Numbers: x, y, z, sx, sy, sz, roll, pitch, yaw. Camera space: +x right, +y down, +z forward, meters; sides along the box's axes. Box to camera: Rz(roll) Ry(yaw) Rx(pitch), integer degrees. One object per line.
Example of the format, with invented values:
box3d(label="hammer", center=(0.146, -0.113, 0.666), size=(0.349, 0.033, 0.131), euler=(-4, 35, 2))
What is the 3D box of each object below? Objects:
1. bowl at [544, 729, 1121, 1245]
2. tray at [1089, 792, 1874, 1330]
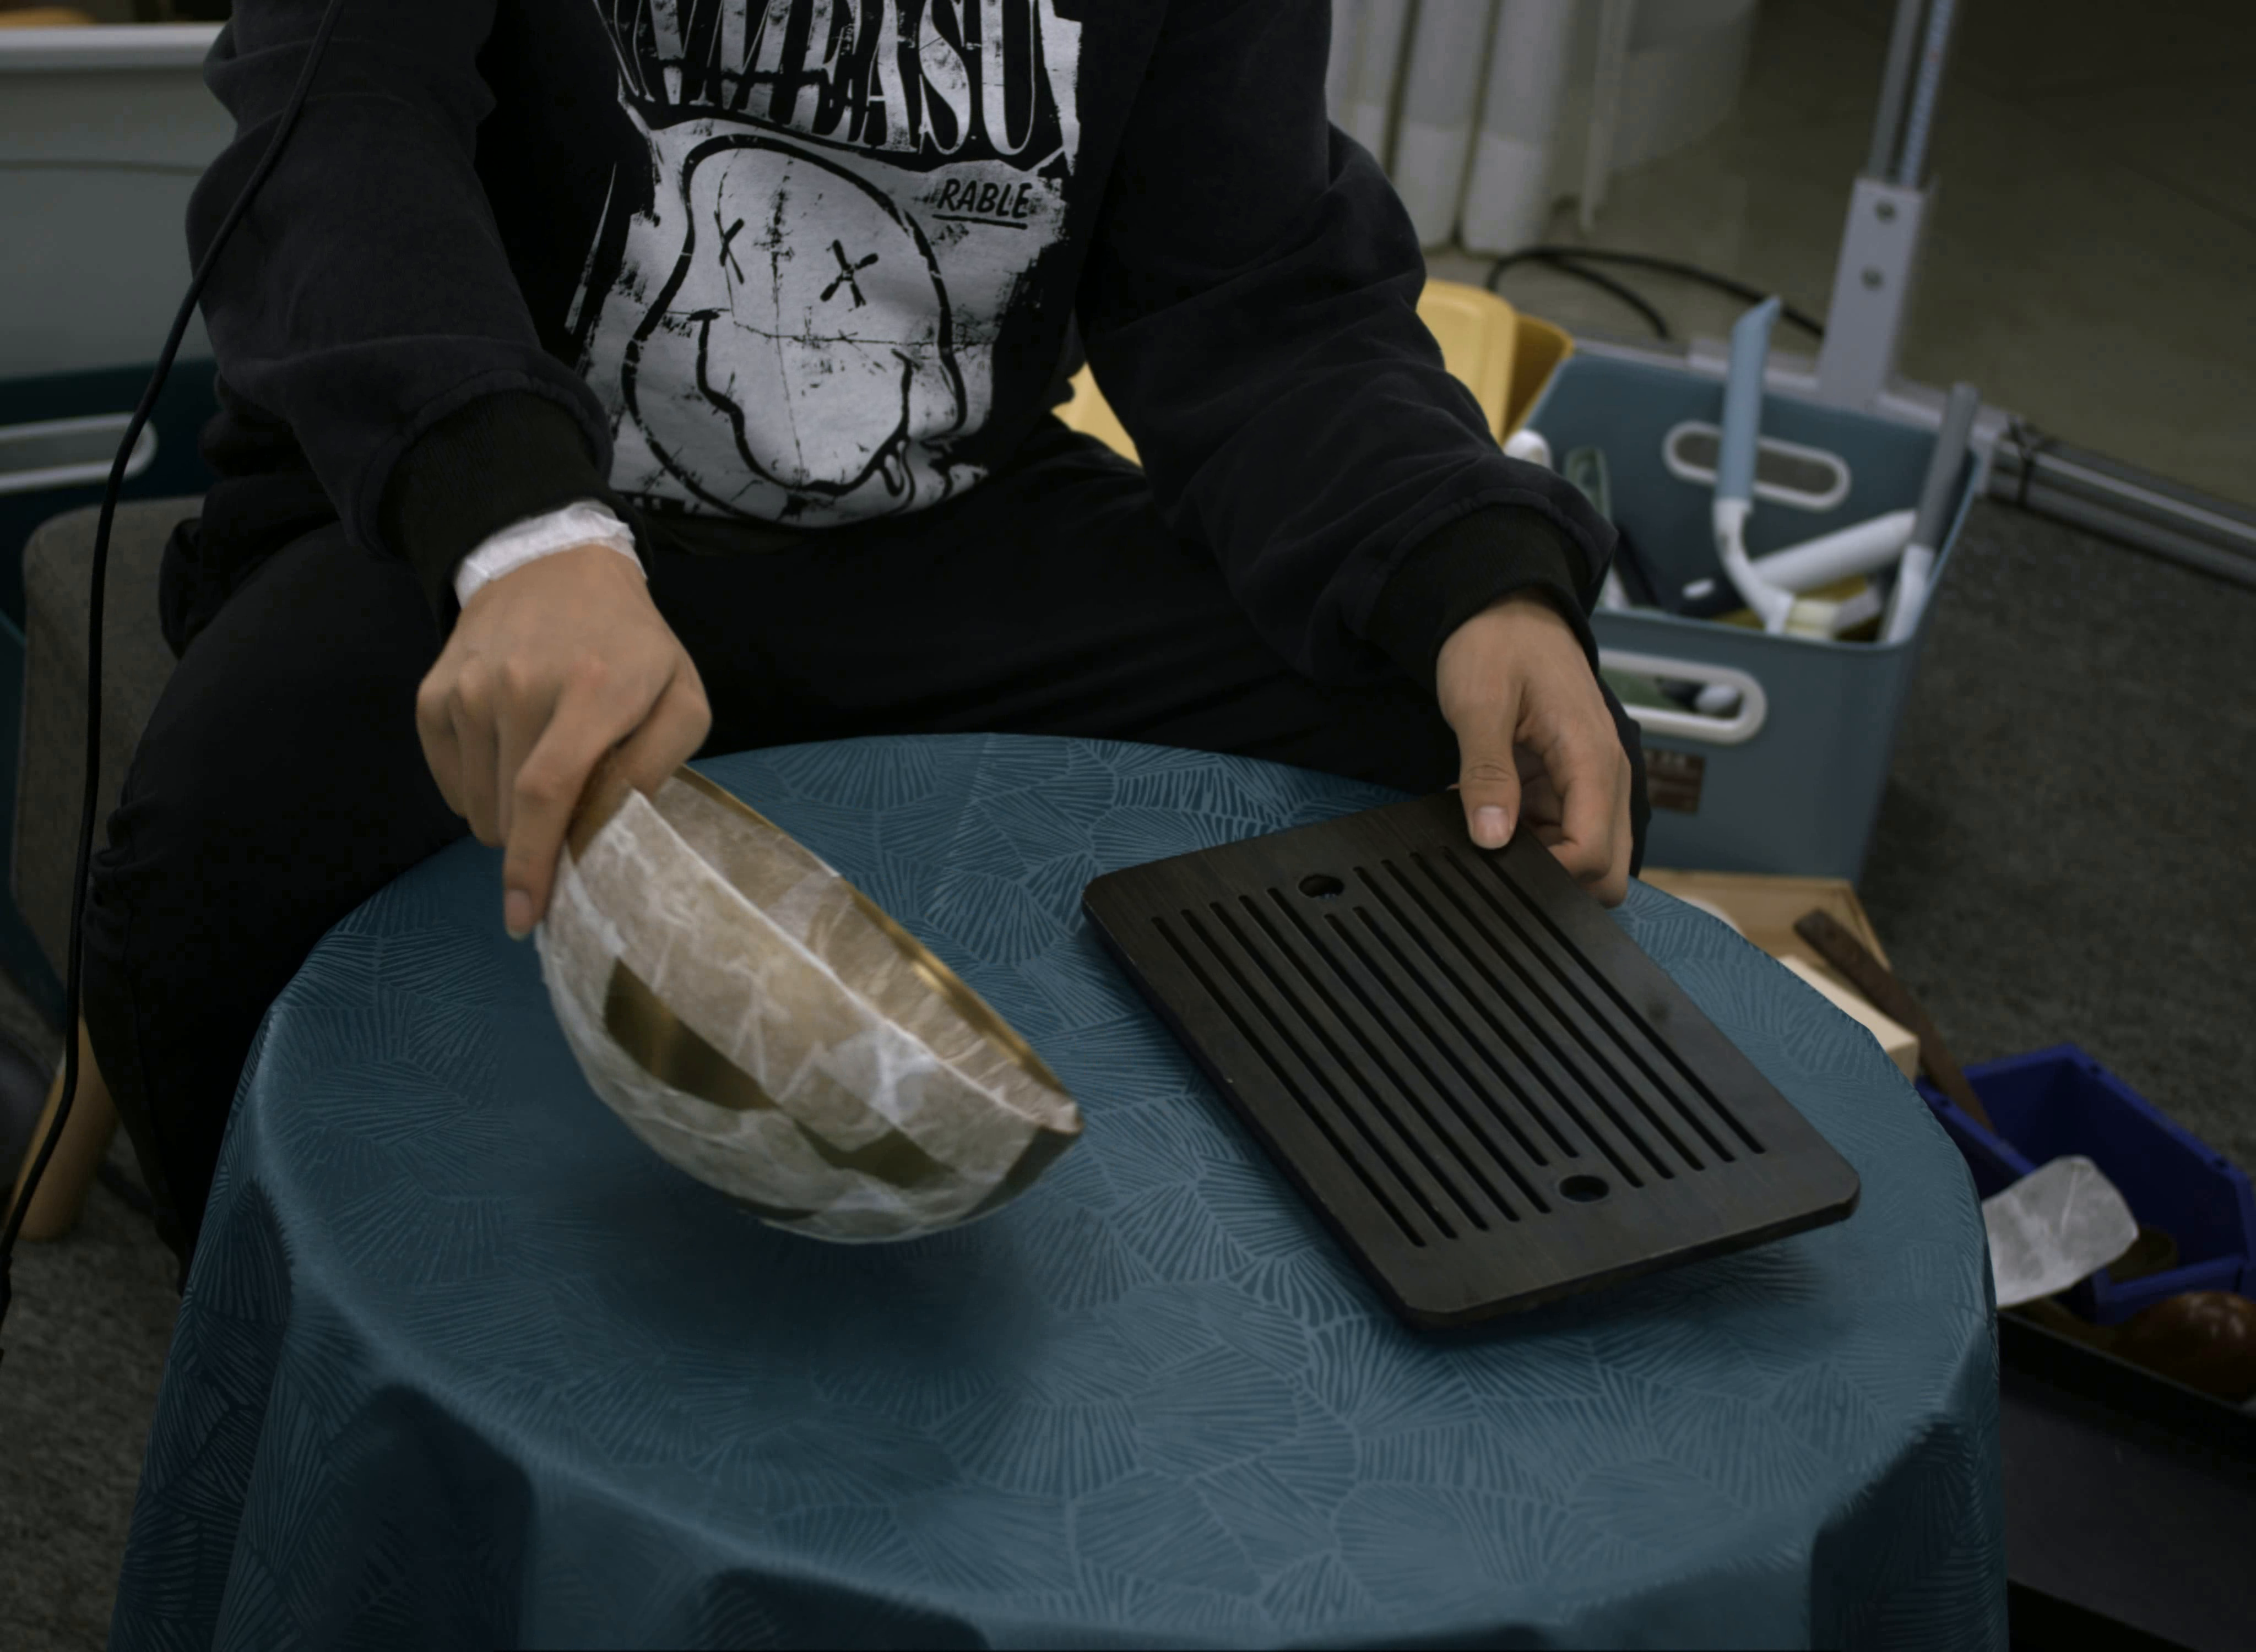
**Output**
box3d(label="bowl", center=(-0.113, 0.070, 1.716), size=(0.214, 0.094, 0.215), euler=(38, 5, -4))
box3d(label="tray", center=(0.118, 0.079, 1.870), size=(0.169, 0.018, 0.309), euler=(-14, 32, -18))
